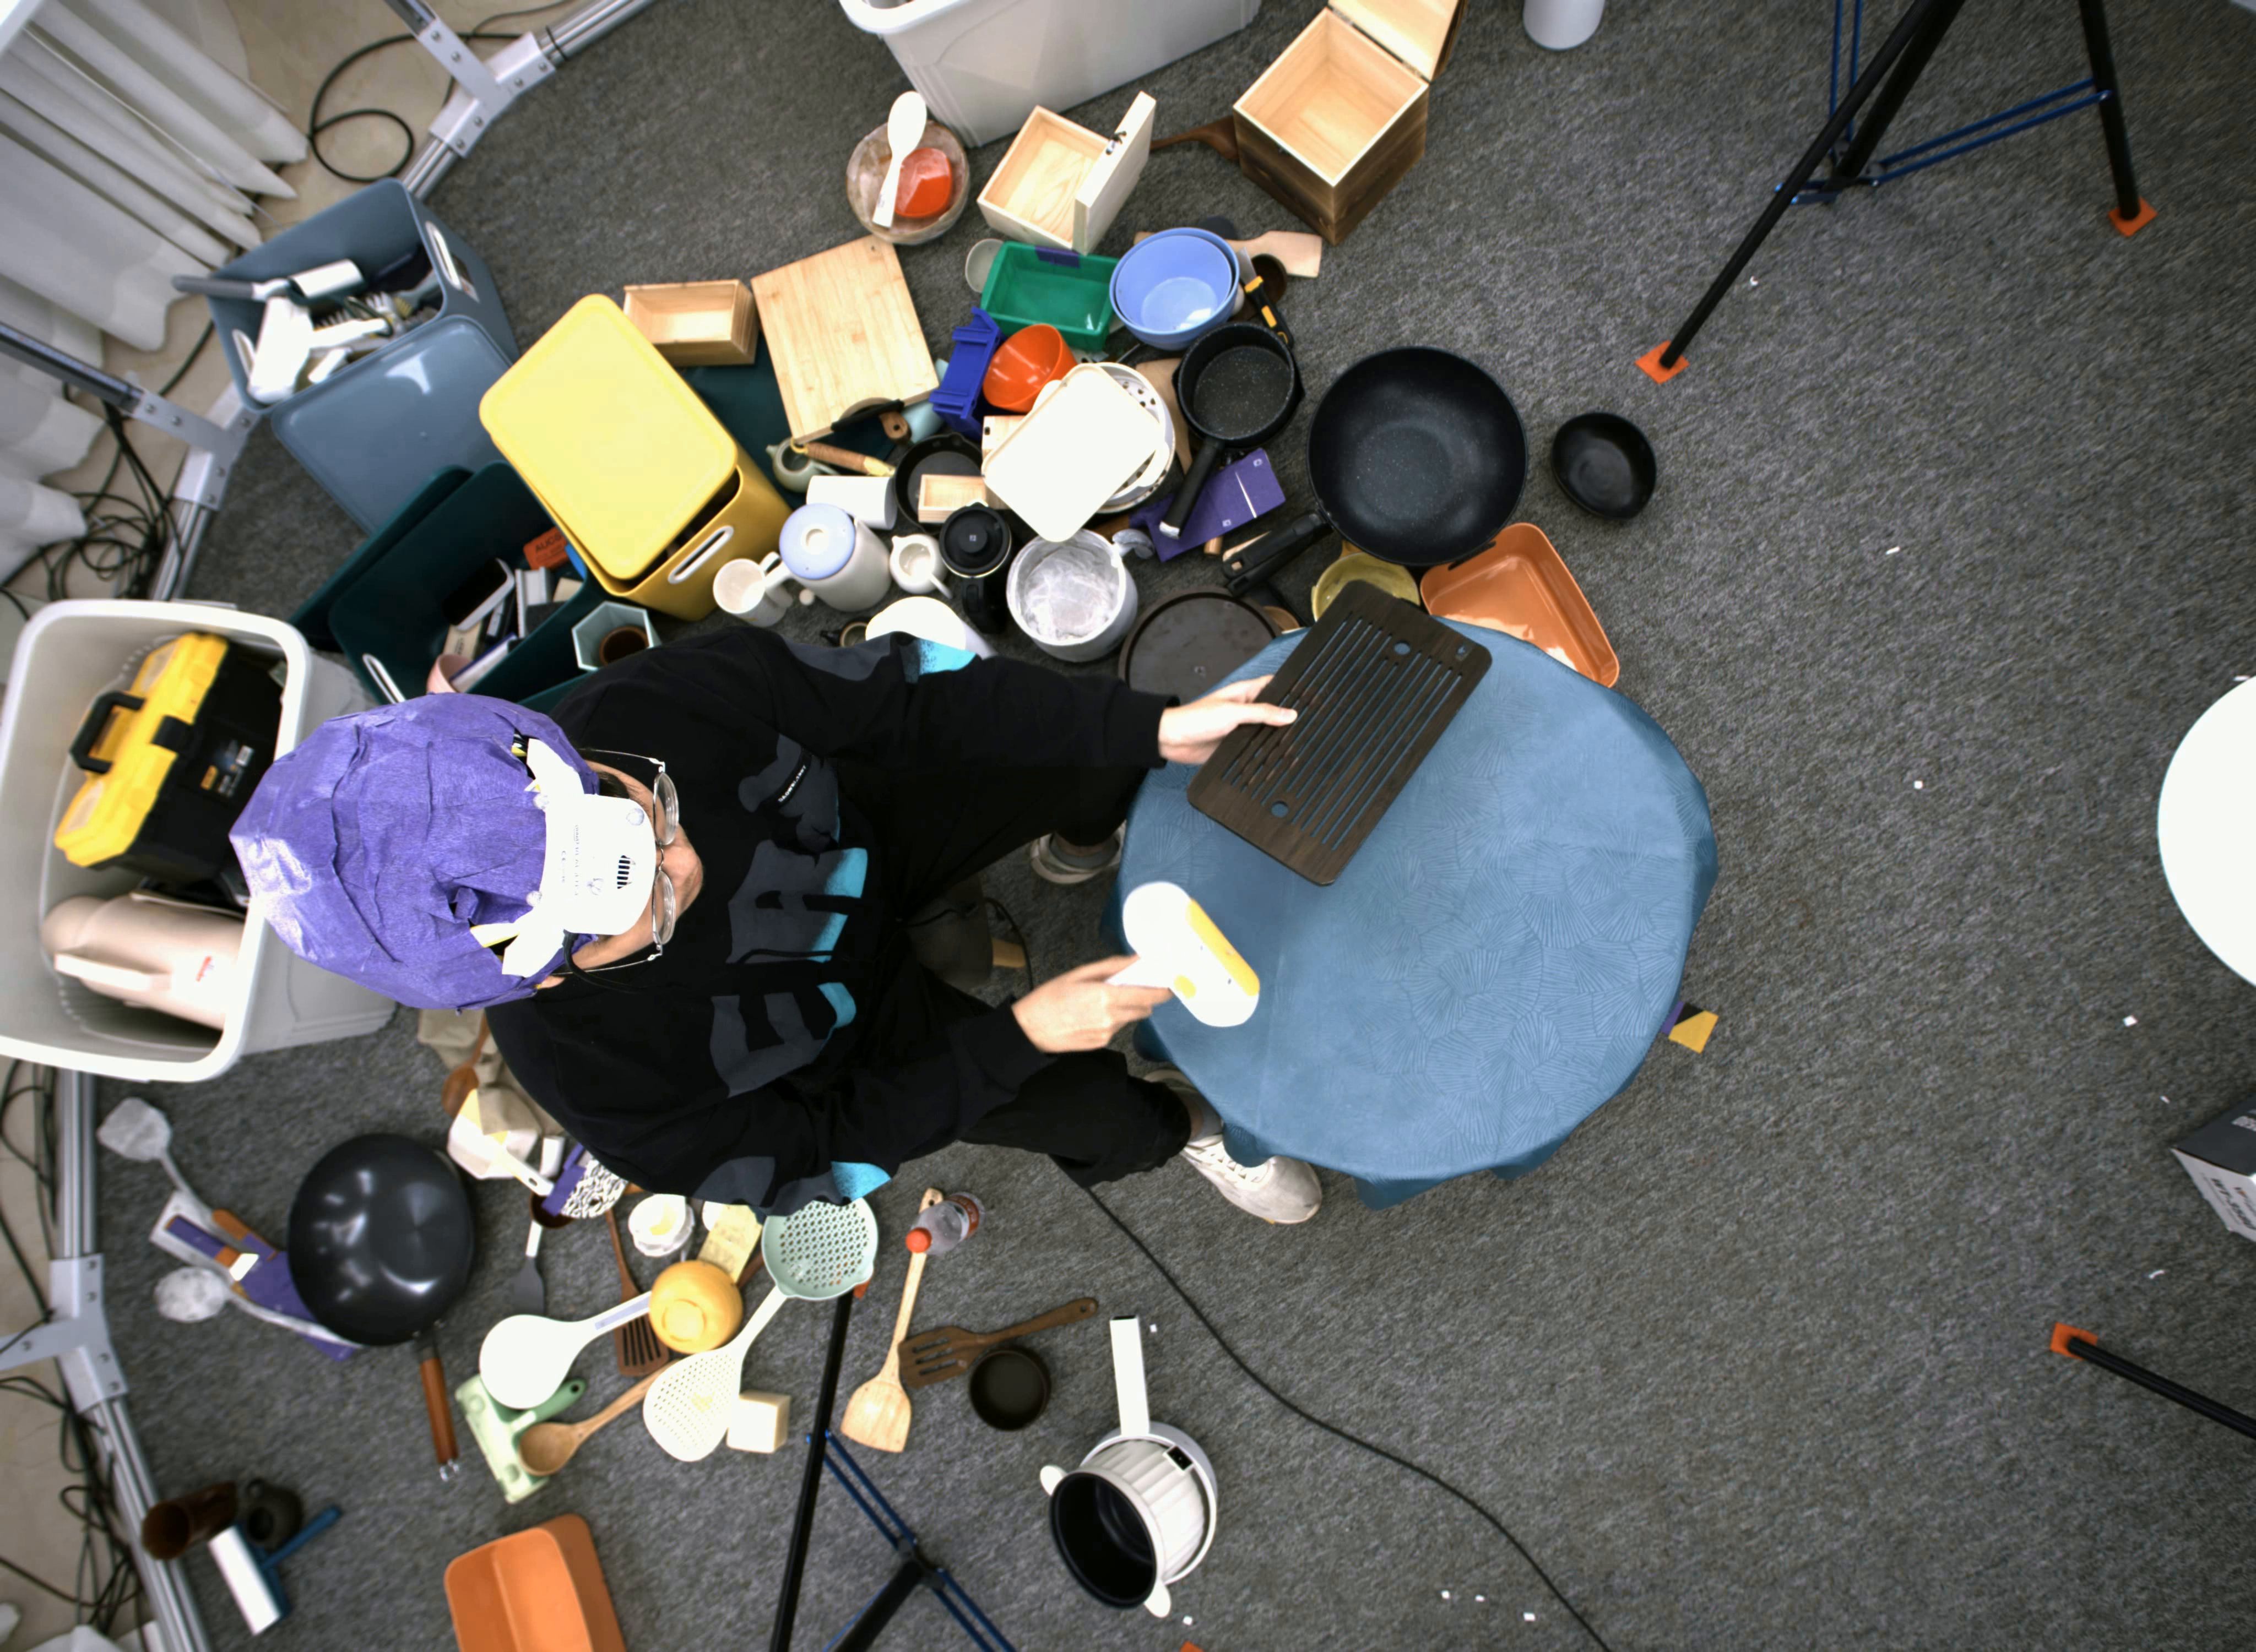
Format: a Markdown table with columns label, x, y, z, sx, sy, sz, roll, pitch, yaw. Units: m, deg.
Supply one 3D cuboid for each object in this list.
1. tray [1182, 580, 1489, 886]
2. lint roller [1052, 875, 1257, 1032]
| label | x | y | z | sx | sy | sz | roll | pitch | yaw |
| --- | --- | --- | --- | --- | --- | --- | --- | --- | --- |
| tray | 0.203 | -0.097 | 1.330 | 0.169 | 0.019 | 0.302 | 33 | 74 | 18 |
| lint roller | 0.008 | 0.146 | 1.366 | 0.195 | 0.195 | 0.072 | -24 | 42 | 27 |
